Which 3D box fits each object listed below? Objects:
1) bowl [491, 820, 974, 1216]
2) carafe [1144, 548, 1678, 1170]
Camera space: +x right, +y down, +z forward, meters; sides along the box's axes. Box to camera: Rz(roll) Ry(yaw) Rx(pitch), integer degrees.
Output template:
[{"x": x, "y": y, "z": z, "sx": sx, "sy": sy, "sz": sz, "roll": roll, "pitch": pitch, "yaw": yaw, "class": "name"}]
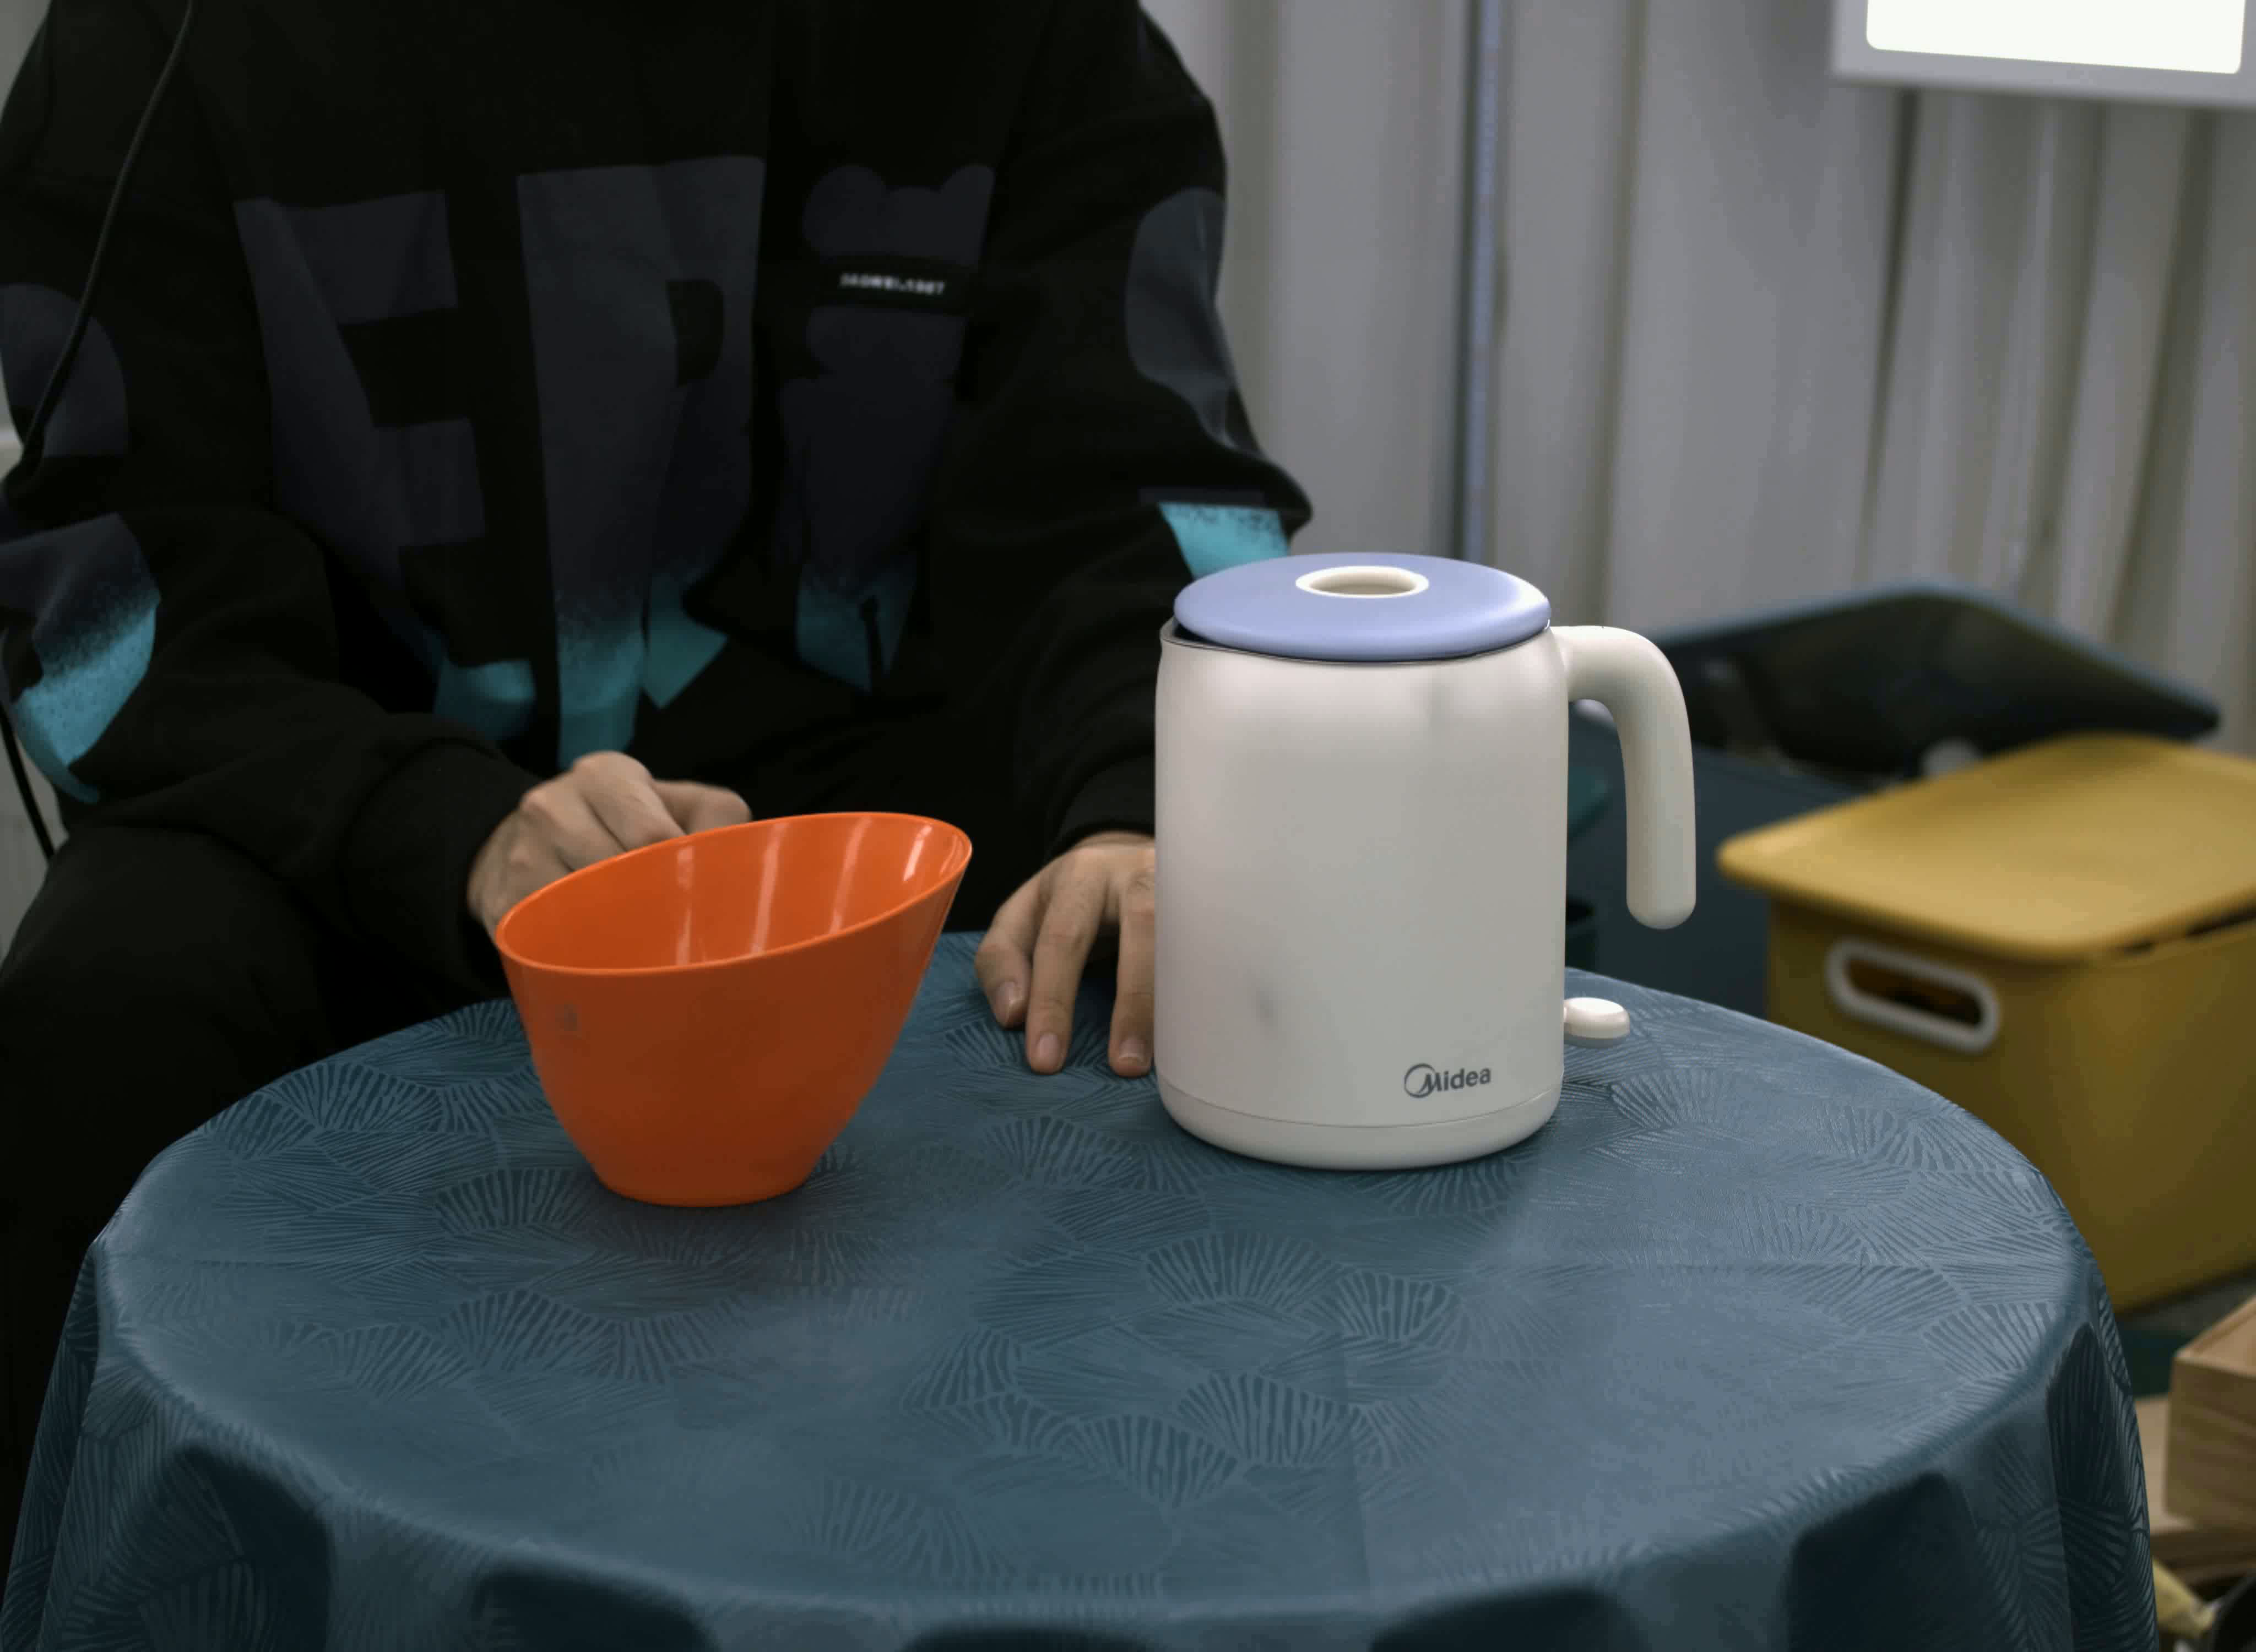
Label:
[{"x": -0.121, "y": 0.060, "z": 1.616, "sx": 0.147, "sy": 0.105, "sz": 0.147, "roll": 1, "pitch": 16, "yaw": 0, "class": "bowl"}, {"x": 0.094, "y": 0.008, "z": 1.681, "sx": 0.192, "sy": 0.184, "sz": 0.130, "roll": -5, "pitch": 18, "yaw": -25, "class": "carafe"}]
